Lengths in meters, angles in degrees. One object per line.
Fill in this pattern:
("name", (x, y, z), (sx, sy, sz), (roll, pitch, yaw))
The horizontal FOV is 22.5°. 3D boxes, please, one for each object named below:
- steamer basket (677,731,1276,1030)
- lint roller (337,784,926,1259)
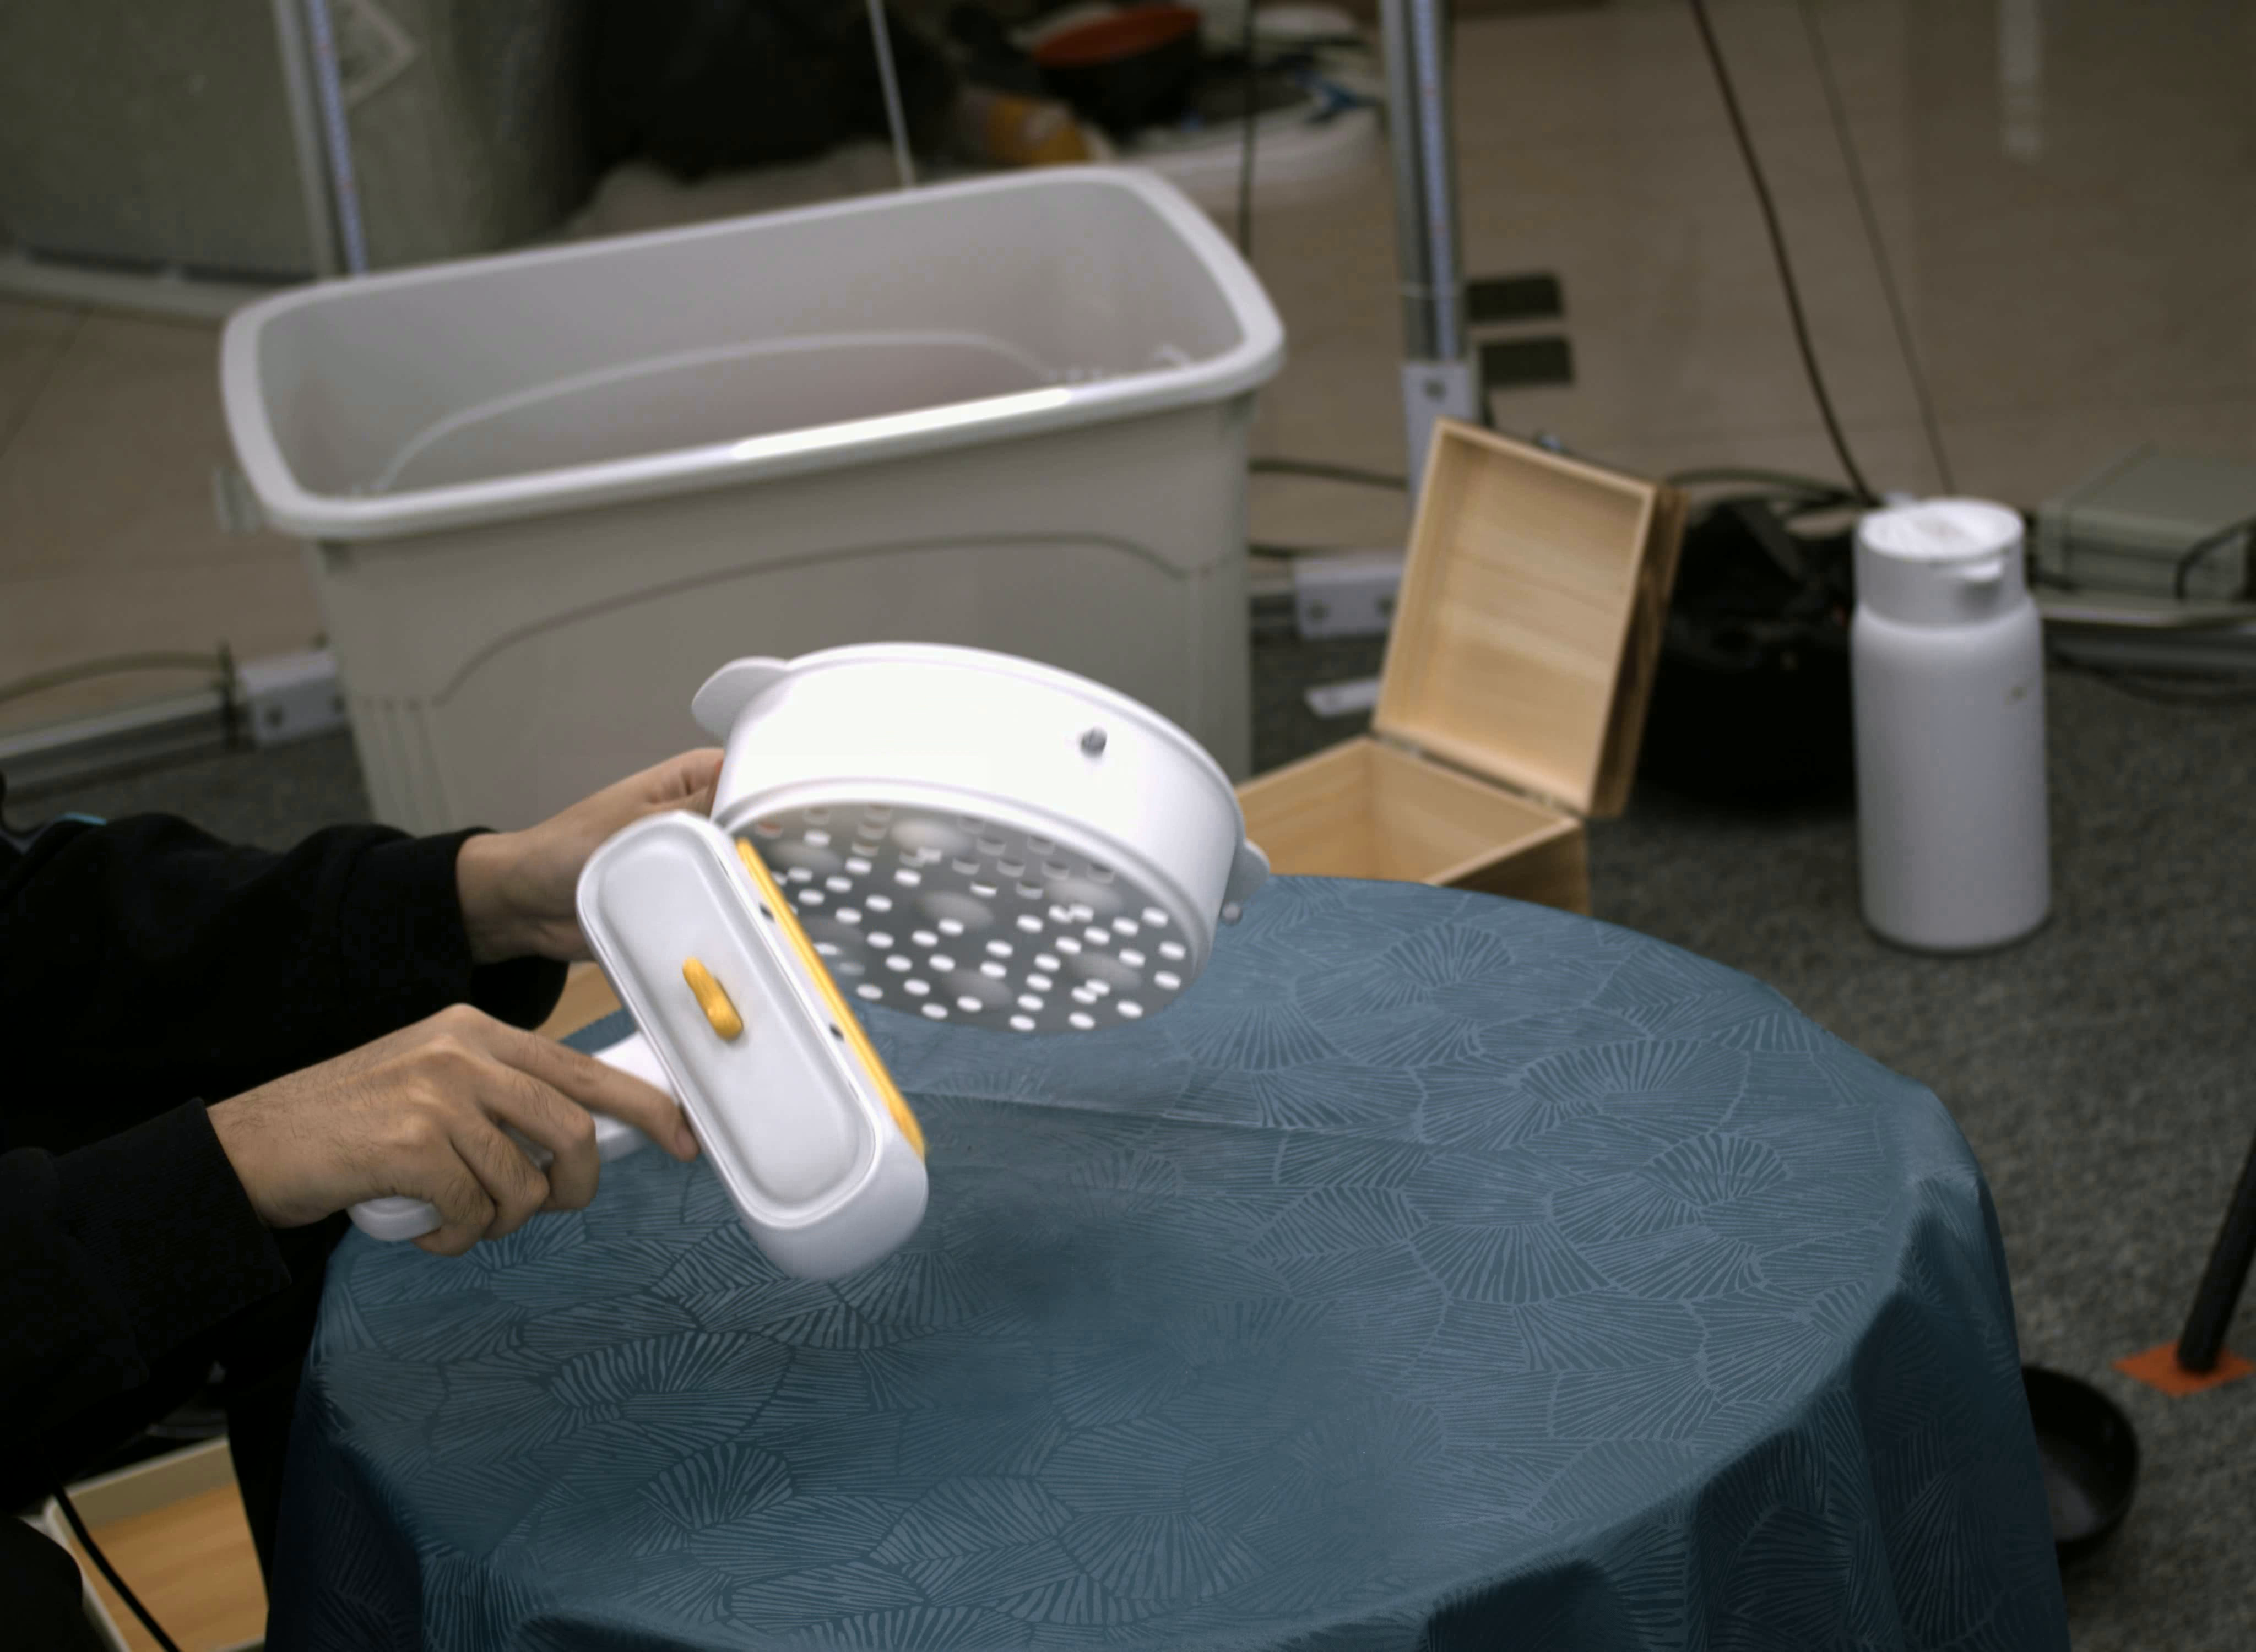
("steamer basket", (-0.058, 0.025, 2.117), (0.231, 0.069, 0.203), (11, -16, -20))
("lint roller", (-0.189, 0.094, 2.005), (0.192, 0.075, 0.191), (-32, 67, -8))
